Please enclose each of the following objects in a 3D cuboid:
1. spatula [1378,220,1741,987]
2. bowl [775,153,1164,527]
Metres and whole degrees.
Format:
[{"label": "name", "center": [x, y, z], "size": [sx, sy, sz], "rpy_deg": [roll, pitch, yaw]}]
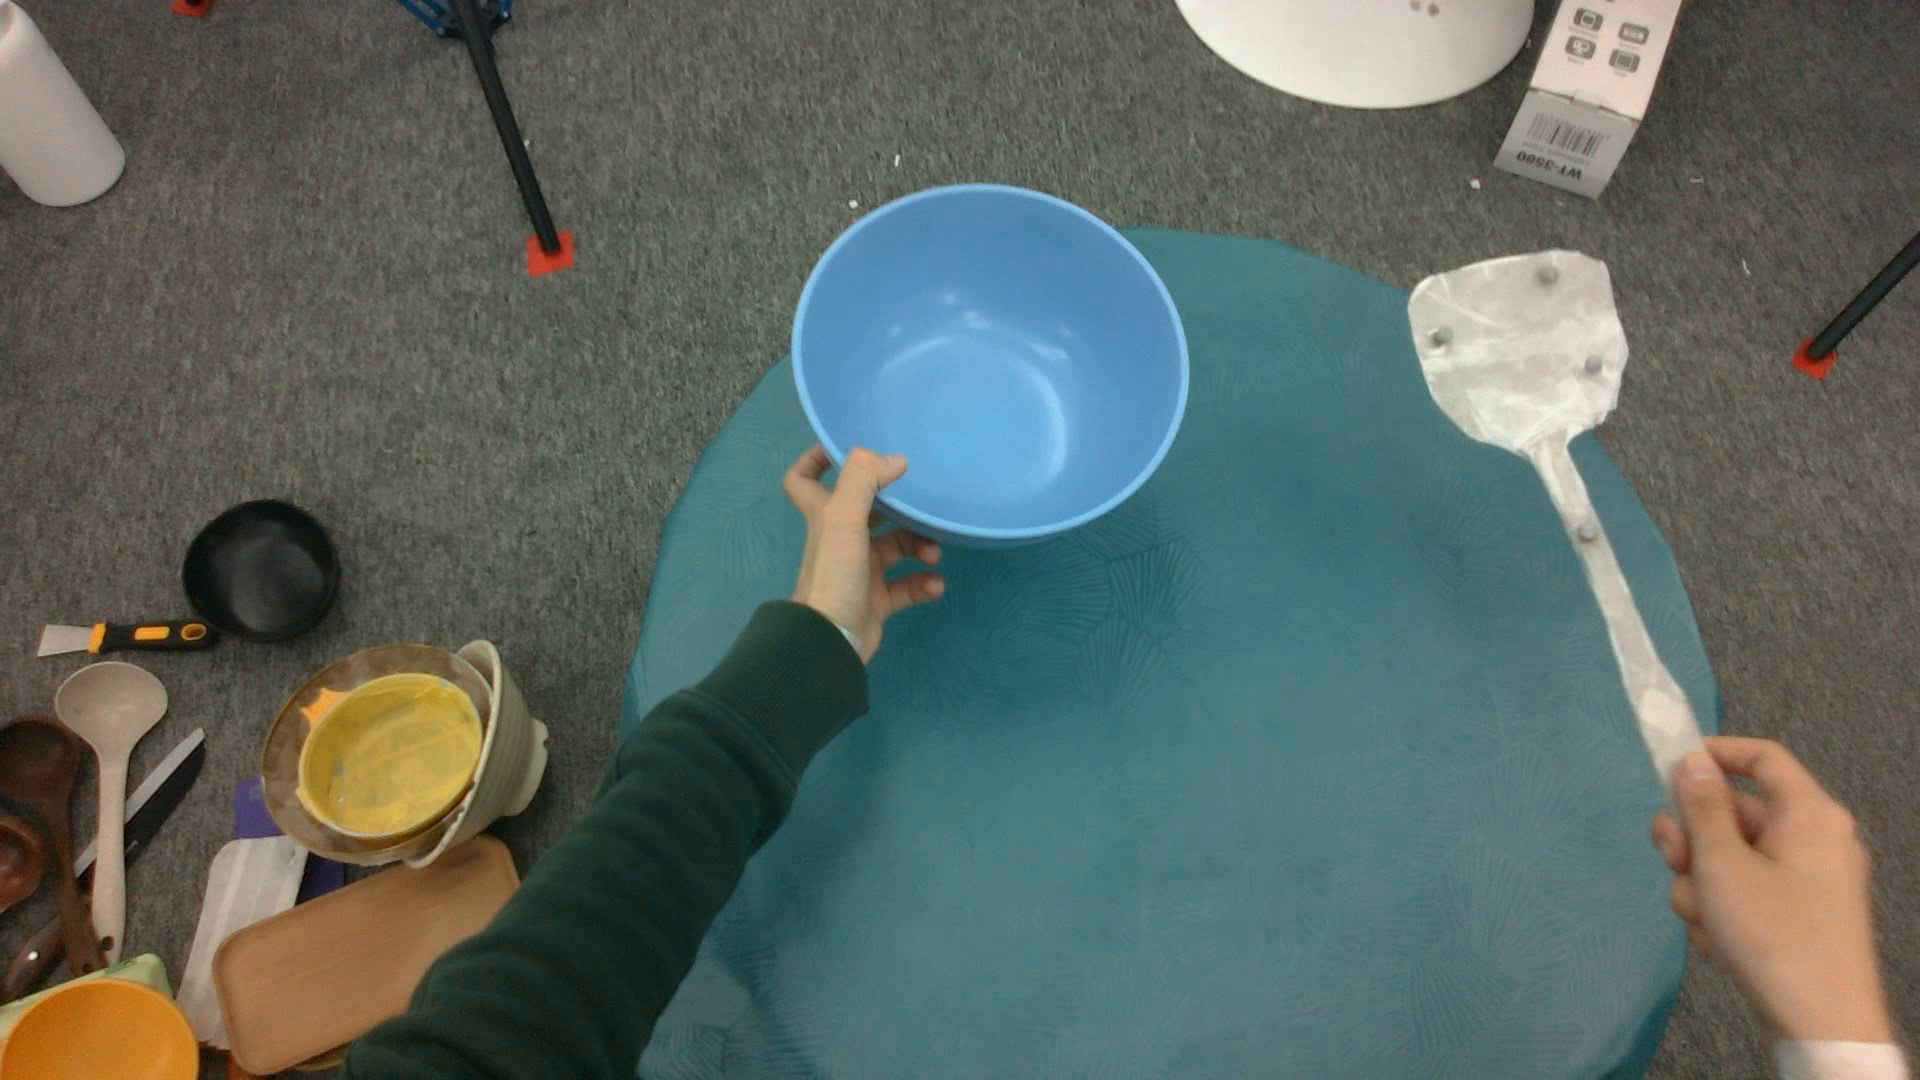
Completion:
[{"label": "spatula", "center": [0.272, 0.005, 0.602], "size": [0.098, 0.044, 0.366], "rpy_deg": [-10, 56, 7]}, {"label": "bowl", "center": [-0.003, -0.088, 0.709], "size": [0.197, 0.095, 0.197], "rpy_deg": [5, 69, -15]}]
